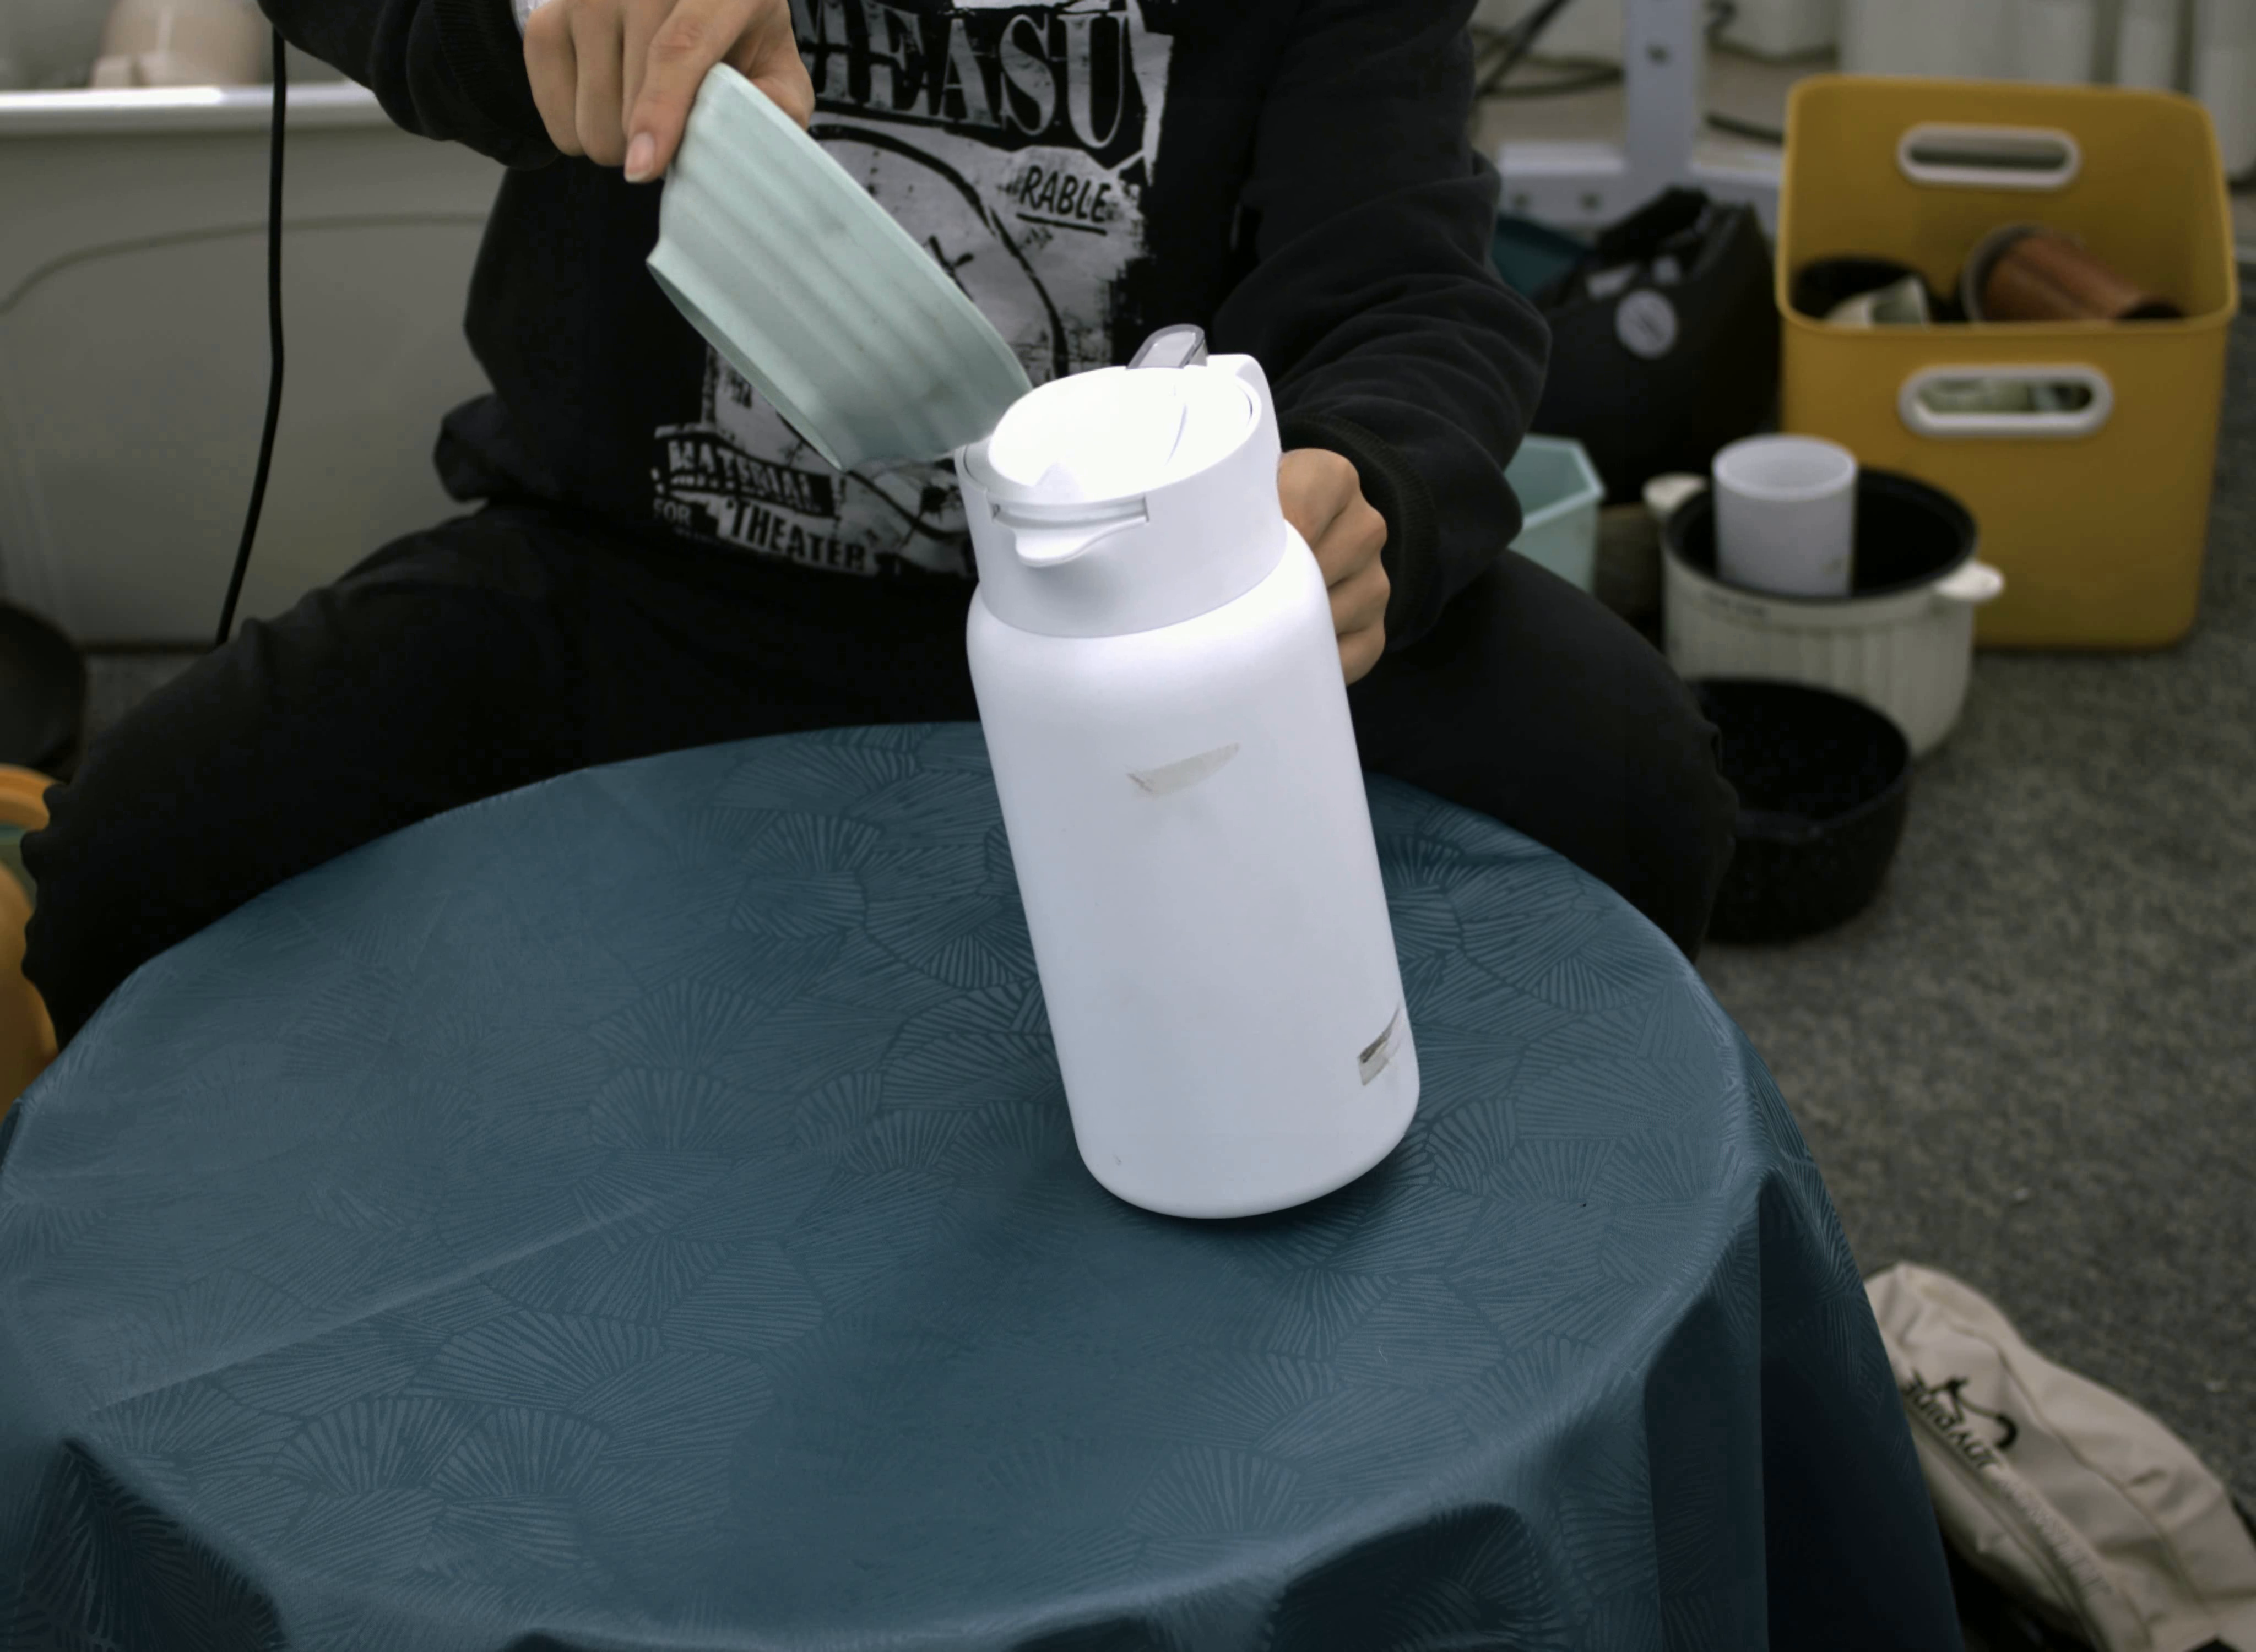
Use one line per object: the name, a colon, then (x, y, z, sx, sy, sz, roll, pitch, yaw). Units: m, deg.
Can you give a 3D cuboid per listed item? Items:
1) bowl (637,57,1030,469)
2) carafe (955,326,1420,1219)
bowl: (-0.098, -0.160, 1.710, 0.059, 0.150, 0.152, -45, 37, -4)
carafe: (0.021, -0.021, 1.833, 0.122, 0.266, 0.176, -3, 28, 21)
